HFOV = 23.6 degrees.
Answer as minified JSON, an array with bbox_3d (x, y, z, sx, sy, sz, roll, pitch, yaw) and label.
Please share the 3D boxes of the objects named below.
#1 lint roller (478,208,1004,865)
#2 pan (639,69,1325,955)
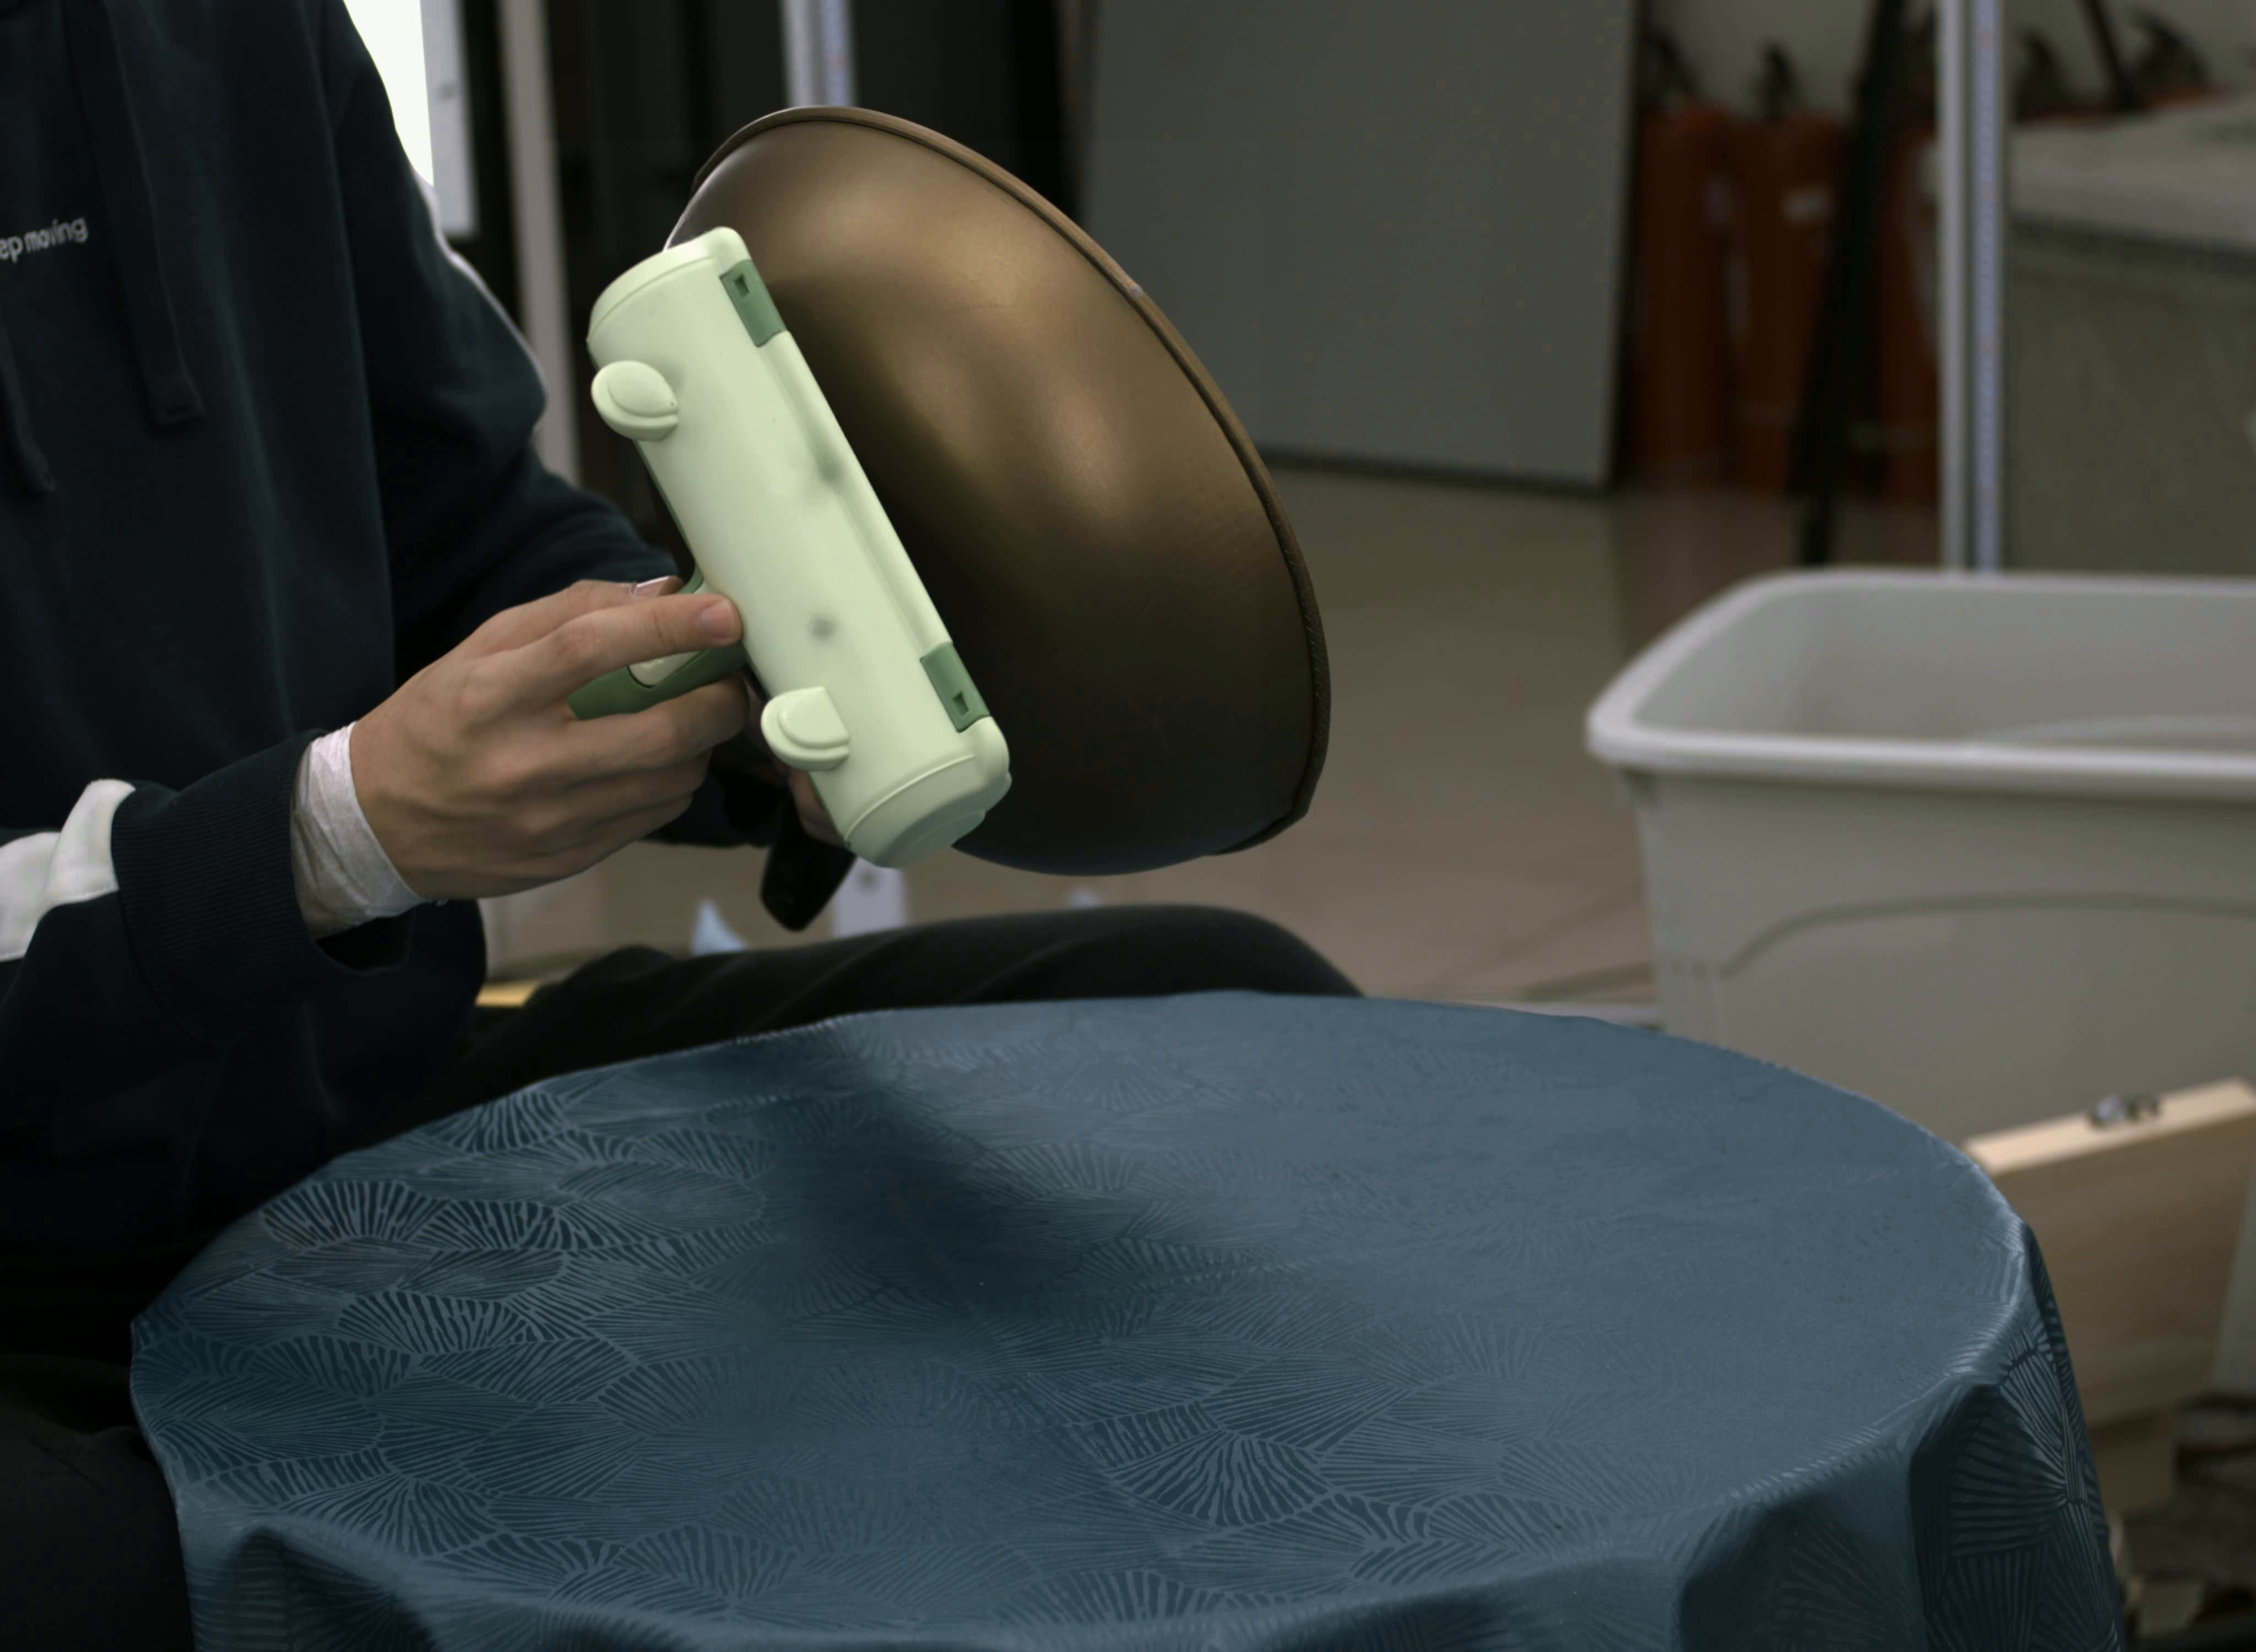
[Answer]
[{"bbox_3d":[-0.144,-0.055,1.619,0.184,0.201,0.081,-35,-18,24],"label":"lint roller"},{"bbox_3d":[-0.090,-0.052,1.784,0.086,0.289,0.466,-37,-11,-29],"label":"pan"}]
